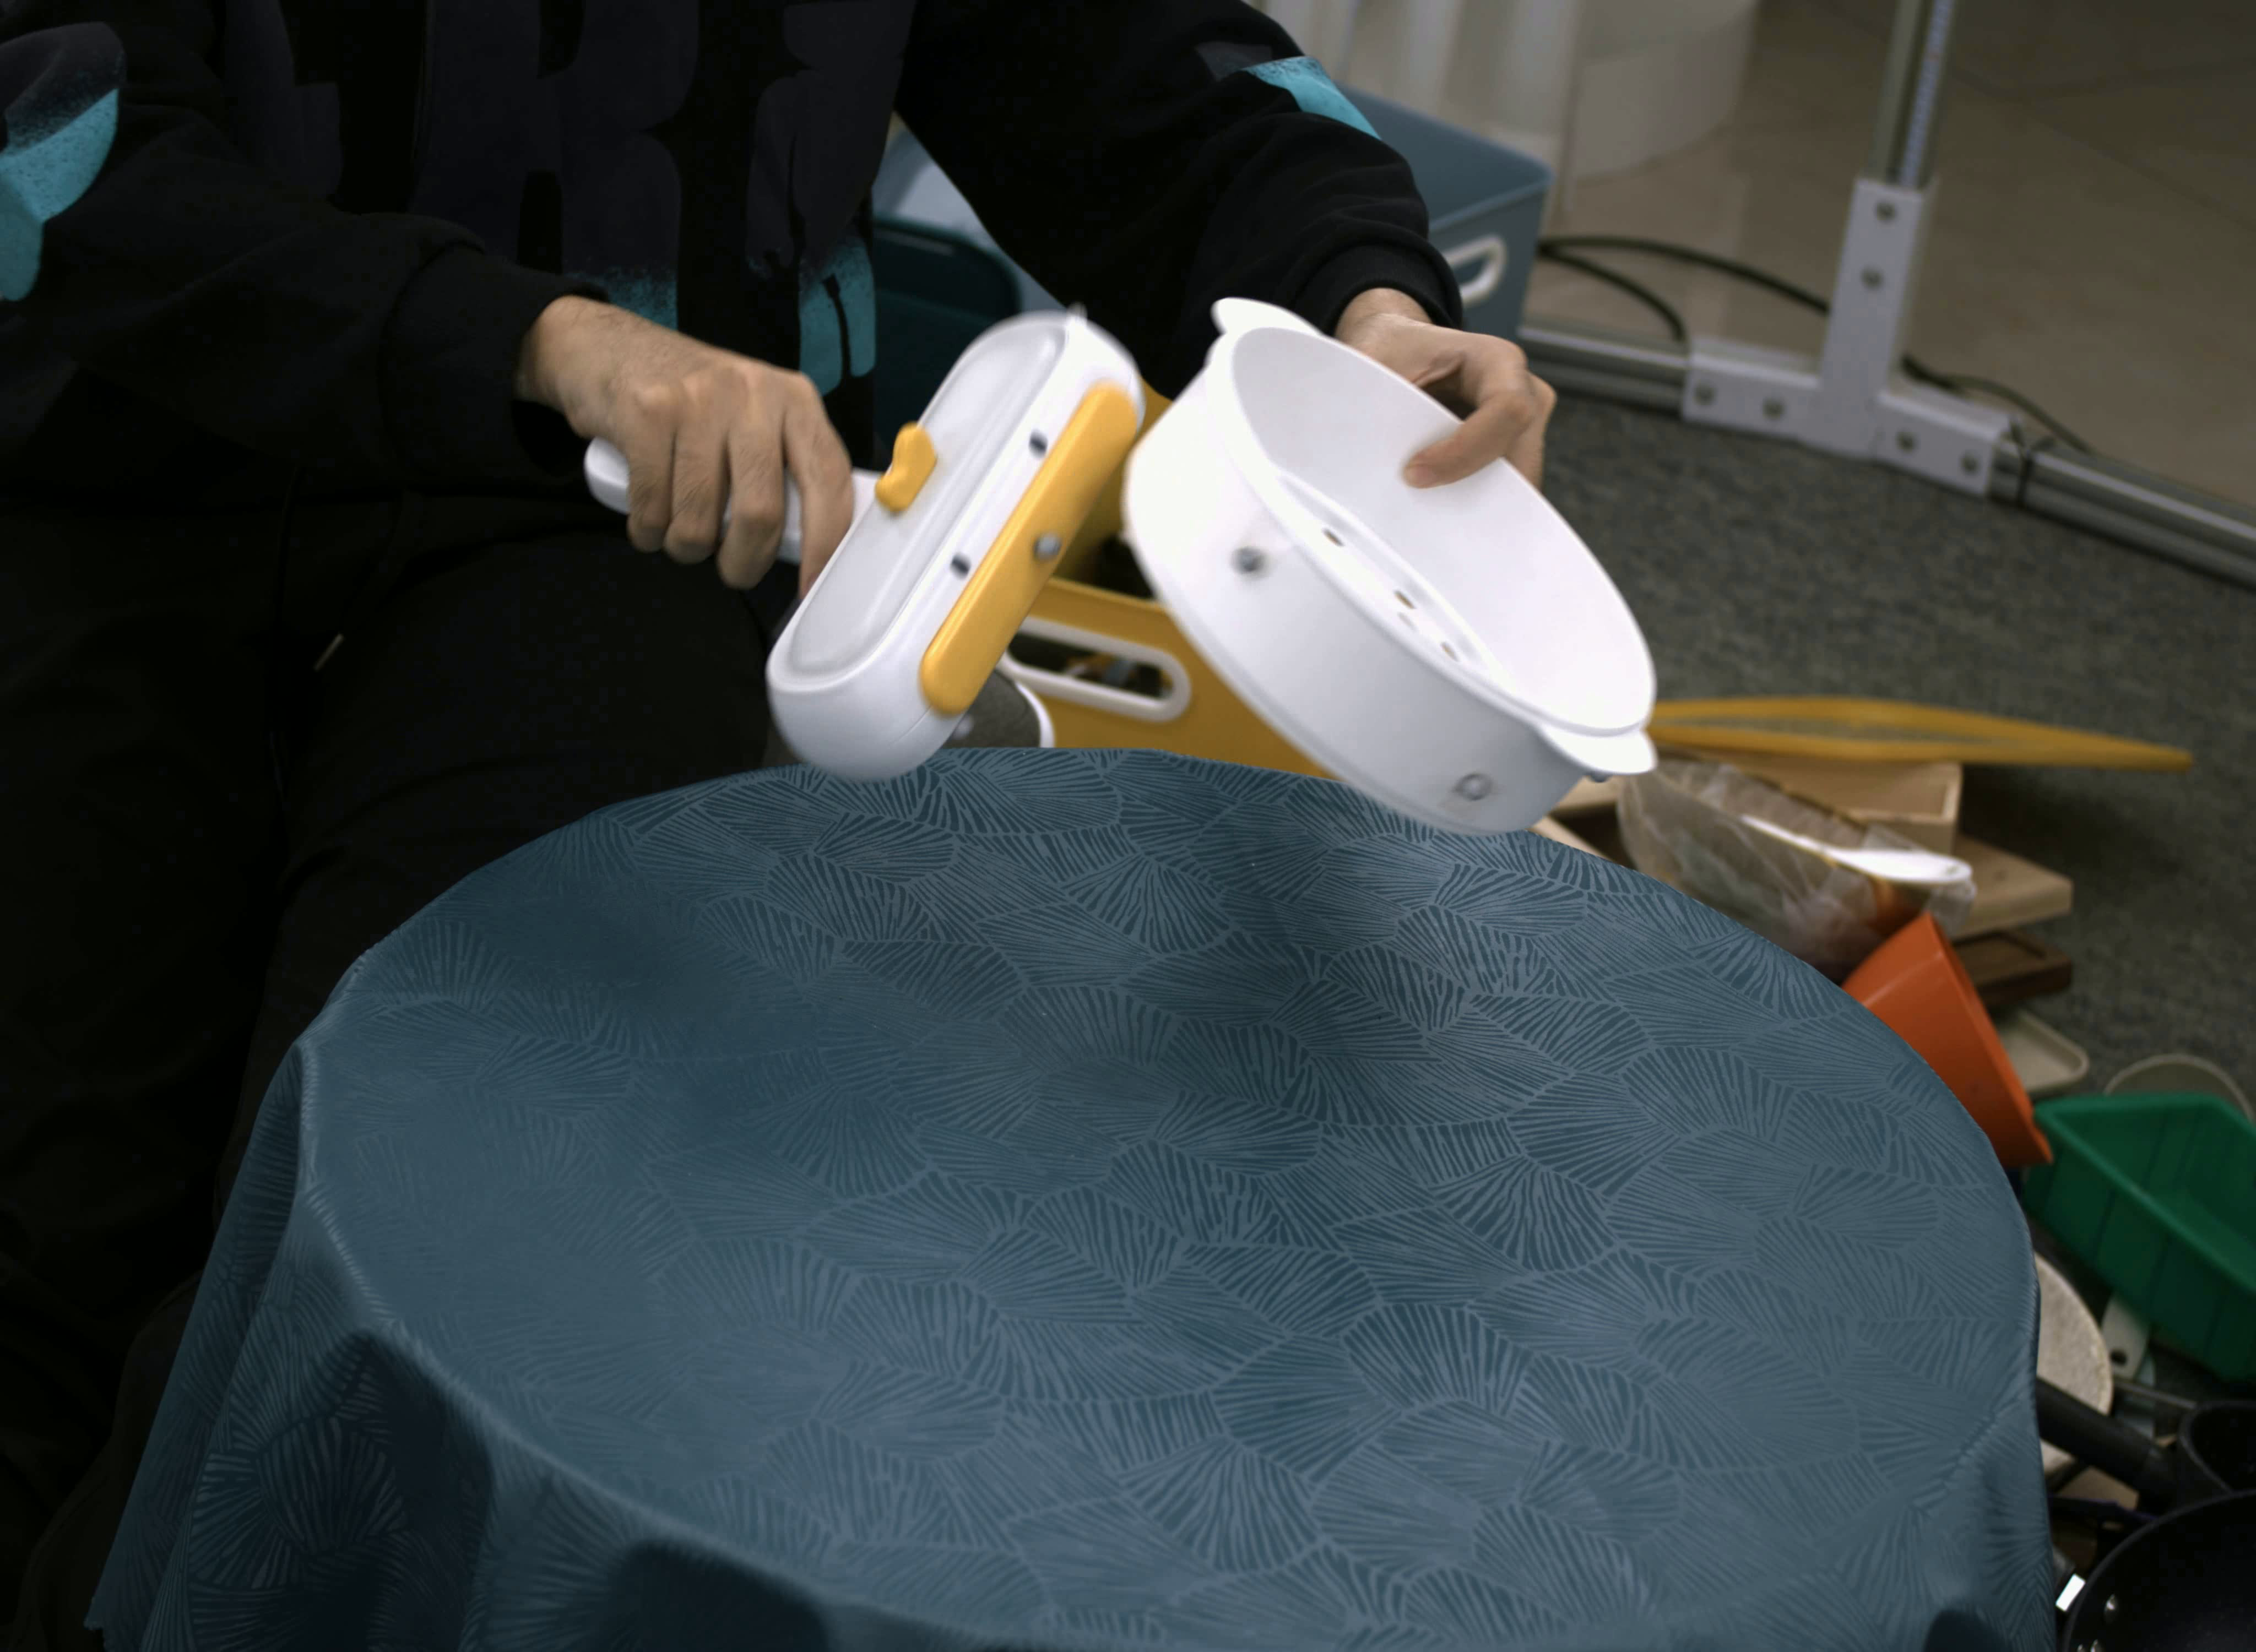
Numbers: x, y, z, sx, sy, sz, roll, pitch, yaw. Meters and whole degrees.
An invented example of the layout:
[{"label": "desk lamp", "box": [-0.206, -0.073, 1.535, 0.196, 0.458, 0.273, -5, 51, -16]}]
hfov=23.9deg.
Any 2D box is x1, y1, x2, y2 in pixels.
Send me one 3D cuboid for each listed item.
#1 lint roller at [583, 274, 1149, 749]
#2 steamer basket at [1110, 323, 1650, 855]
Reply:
[{"label": "lint roller", "box": [-0.106, -0.117, 1.885, 0.193, 0.073, 0.194, 2, 57, 36]}, {"label": "steamer basket", "box": [0.084, -0.077, 1.856, 0.200, 0.069, 0.232, 4, 41, -55]}]
